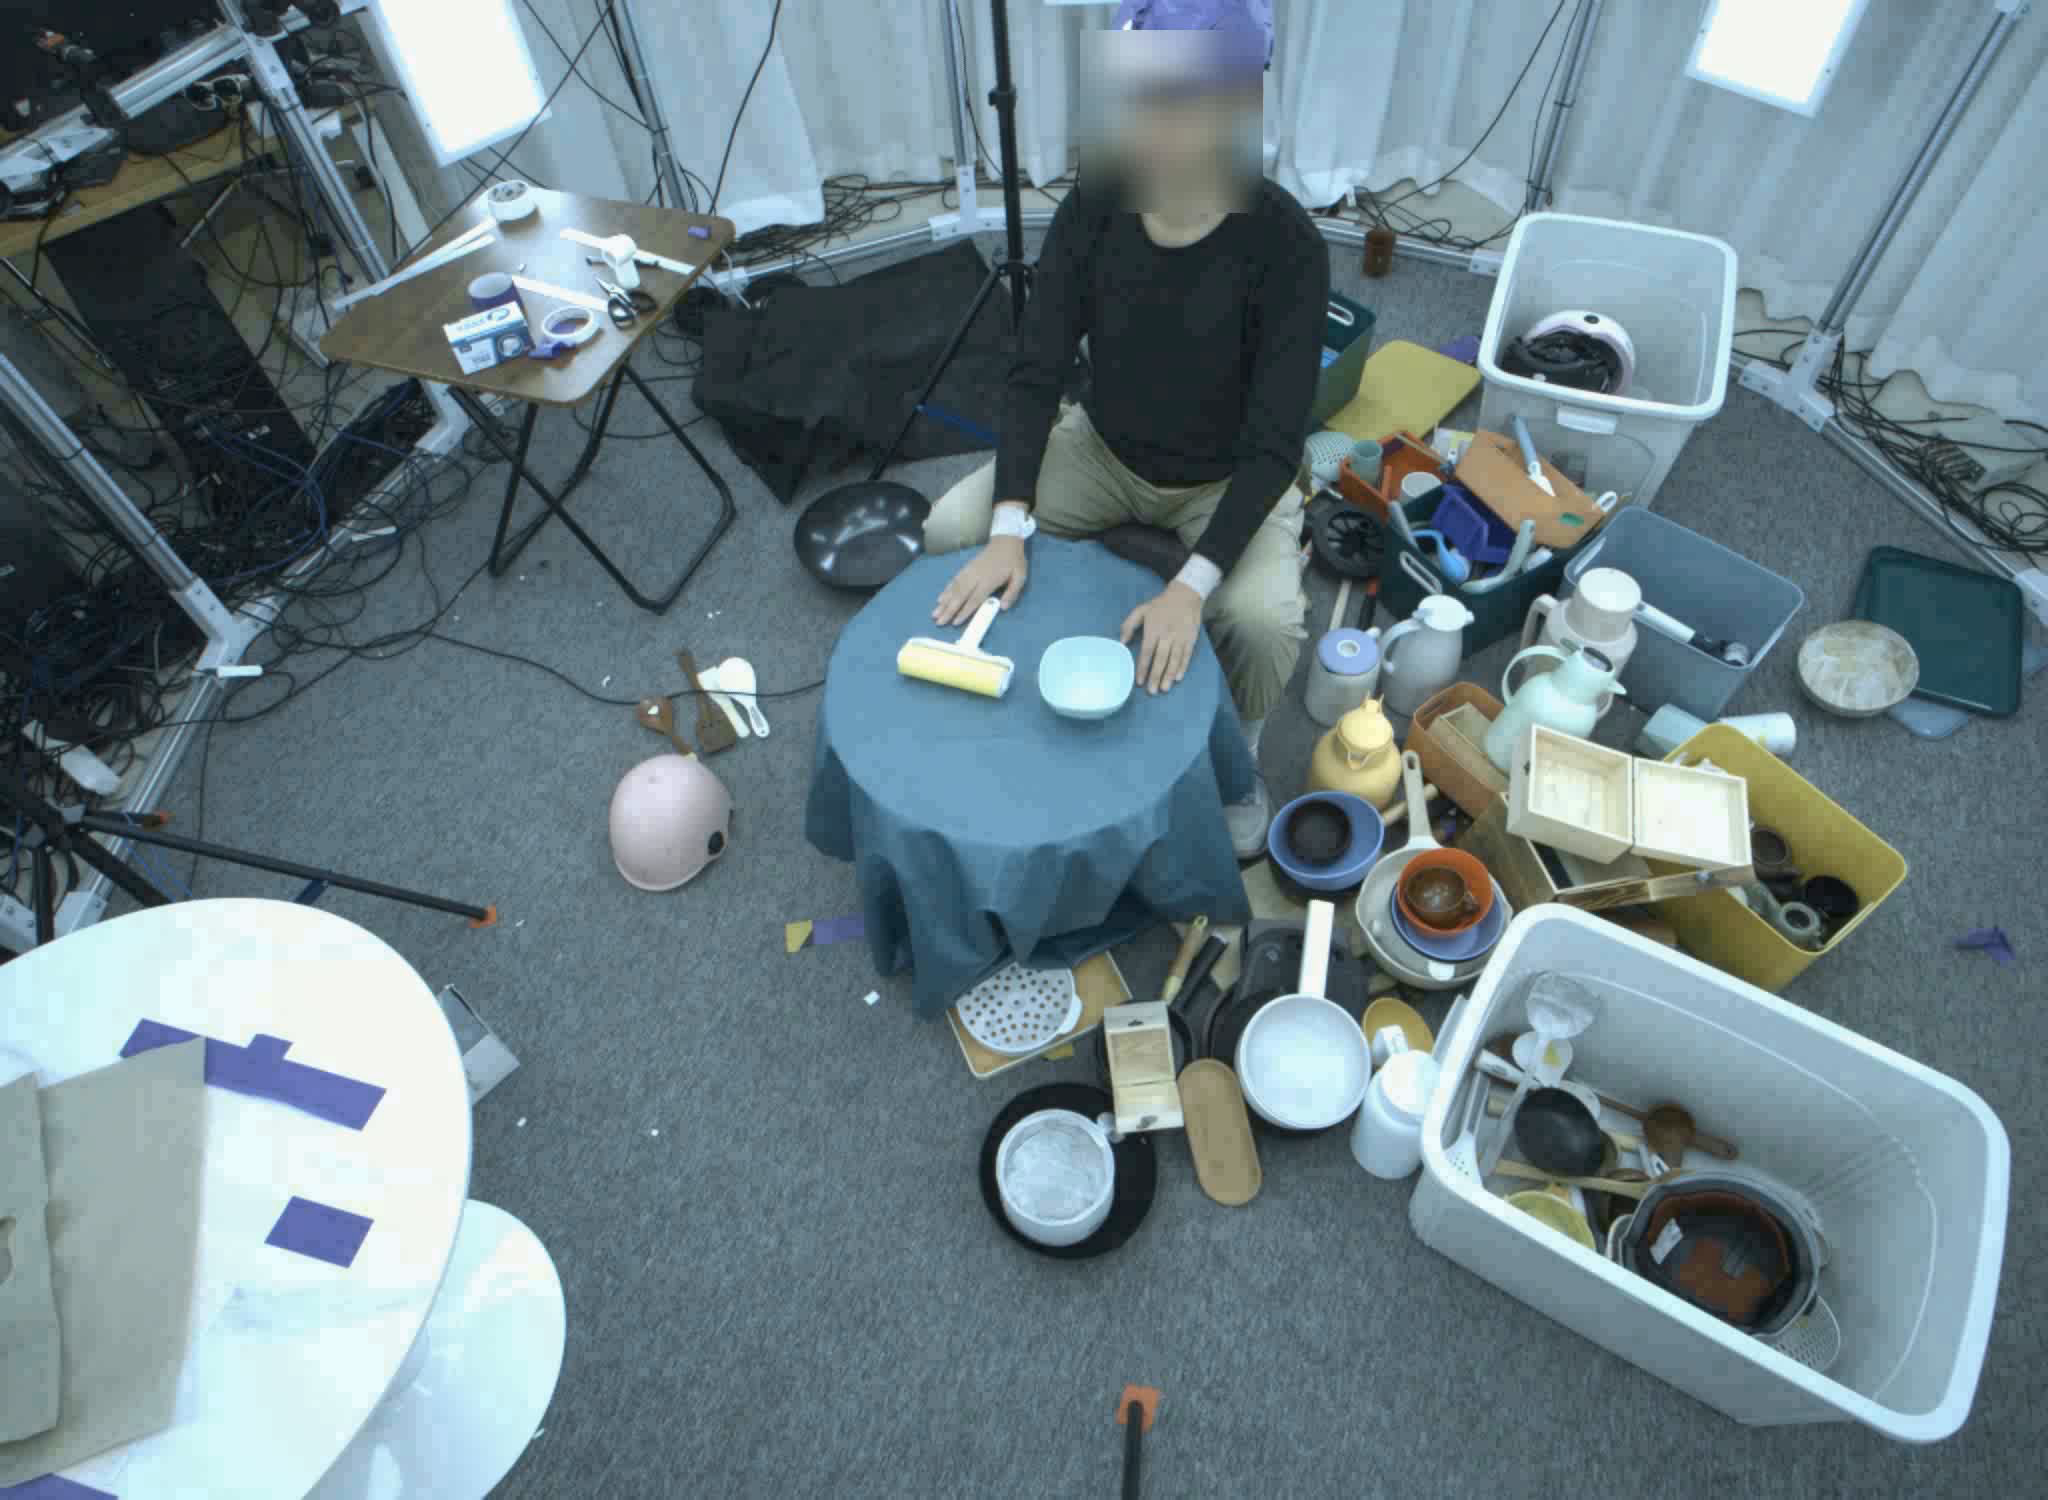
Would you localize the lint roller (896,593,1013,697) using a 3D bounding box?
[{"bbox_3d":[-0.086,-0.178,1.884,0.173,0.052,0.191,14,61,11],"label":"lint roller"}]

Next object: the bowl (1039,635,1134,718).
[{"bbox_3d":[0.093,-0.099,1.819,0.151,0.059,0.150,-1,56,3],"label":"bowl"}]
